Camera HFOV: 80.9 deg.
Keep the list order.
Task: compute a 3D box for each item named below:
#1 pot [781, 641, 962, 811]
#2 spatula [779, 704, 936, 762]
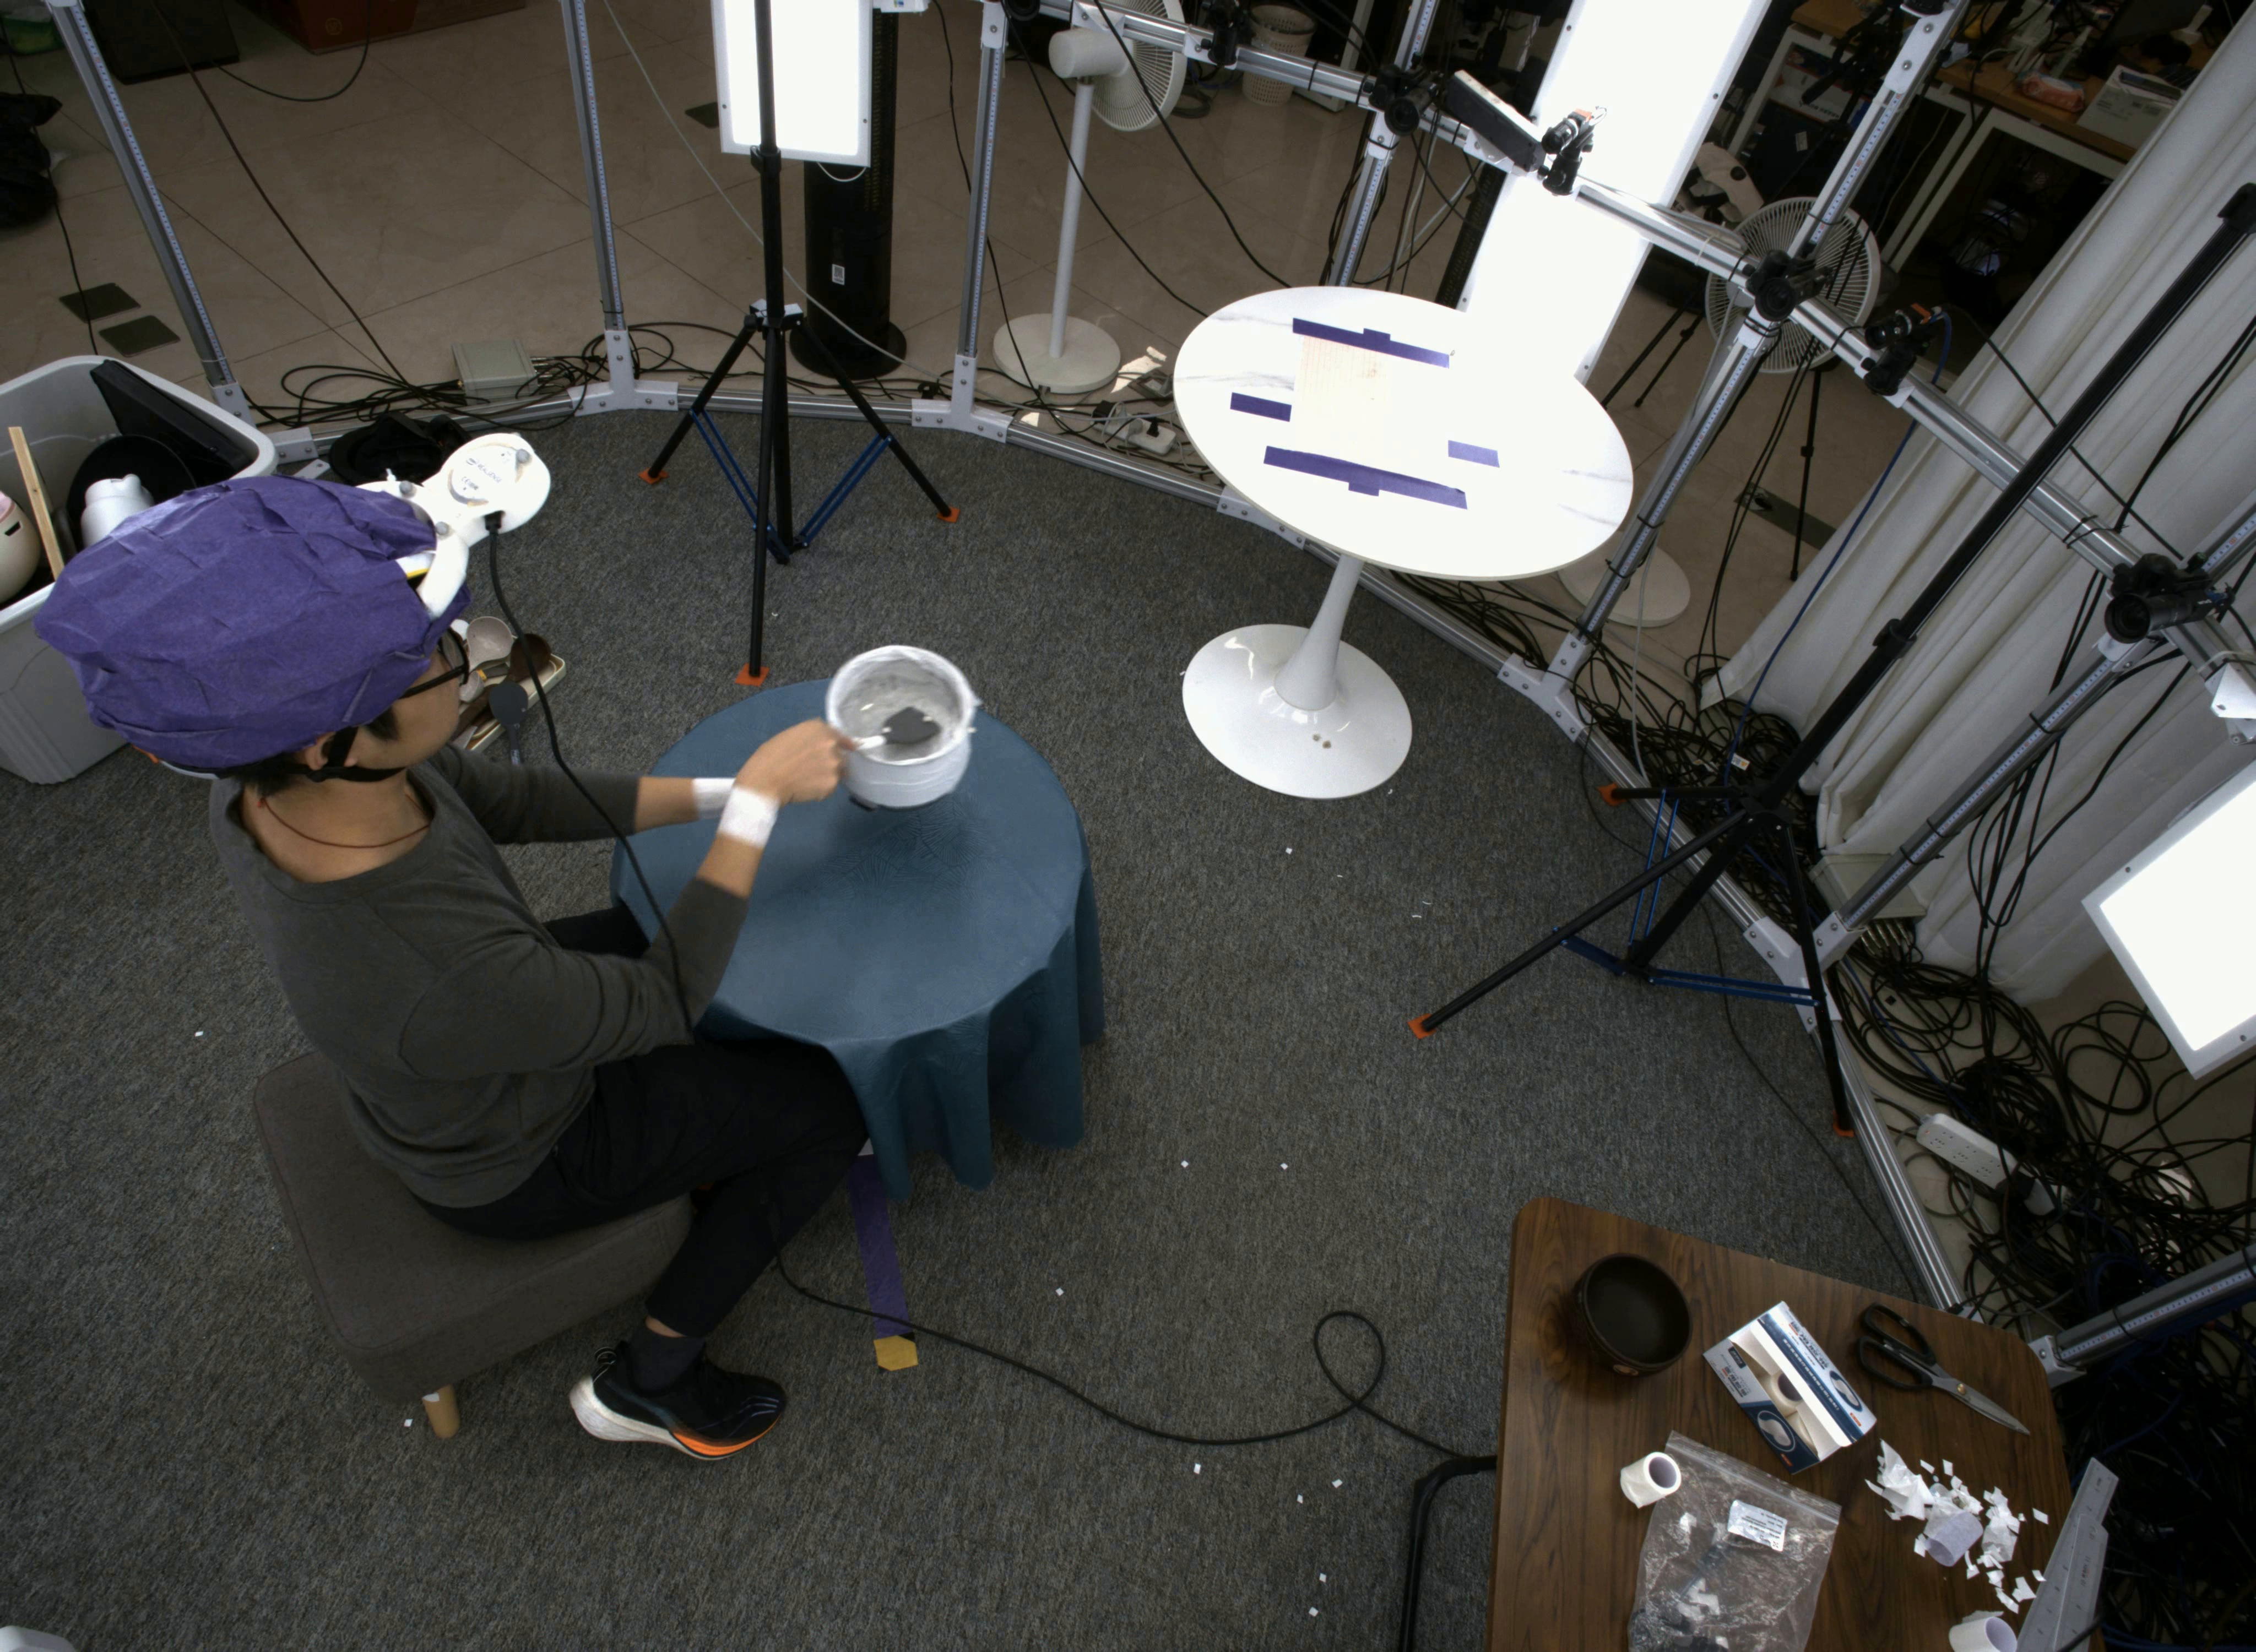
[{"bbox_3d":[-0.324,-0.110,1.626,0.234,0.138,0.175,-27,70,-25],"label":"pot"},{"bbox_3d":[-0.320,-0.111,1.550,0.058,0.032,0.289,36,20,11],"label":"spatula"}]
